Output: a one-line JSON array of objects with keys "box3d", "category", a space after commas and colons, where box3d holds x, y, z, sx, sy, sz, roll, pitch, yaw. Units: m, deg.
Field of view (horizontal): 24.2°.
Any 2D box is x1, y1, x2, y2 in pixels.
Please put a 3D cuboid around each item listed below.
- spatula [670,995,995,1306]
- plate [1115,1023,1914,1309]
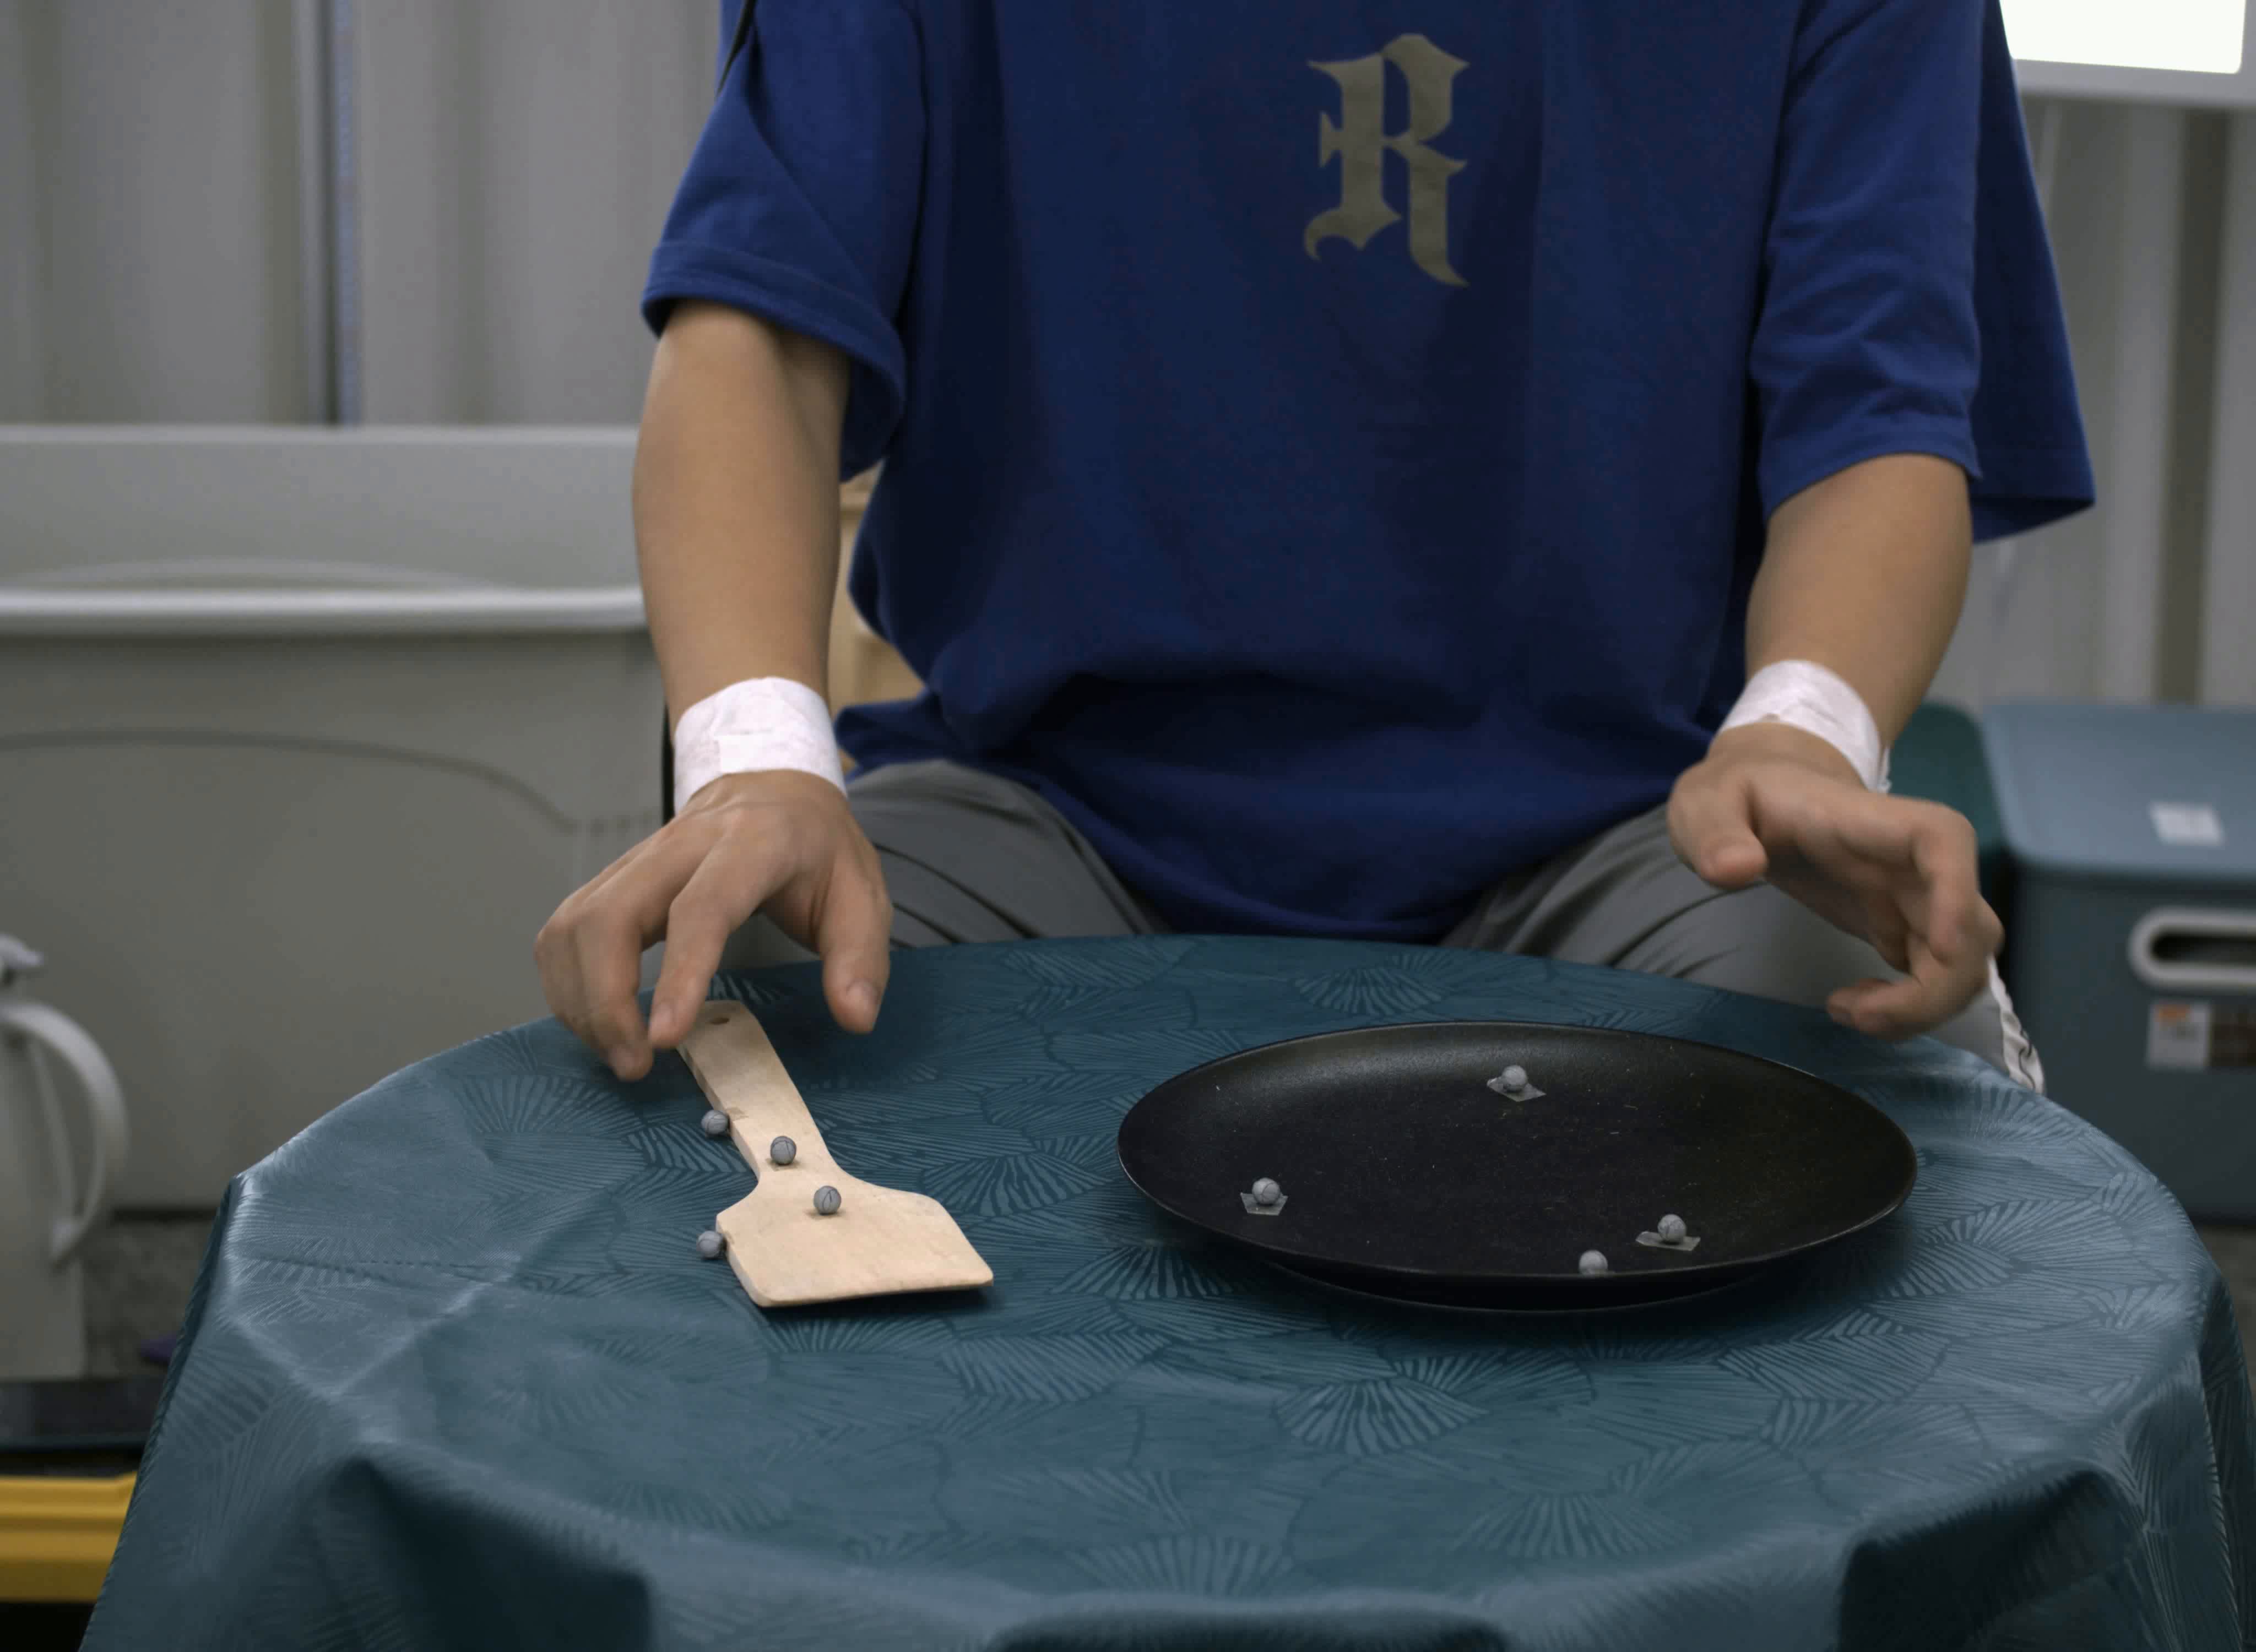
[{"box3d": [-0.108, 0.099, 1.650, 0.072, 0.011, 0.290, -5, 16, -14], "category": "spatula"}, {"box3d": [0.117, 0.106, 1.607, 0.243, 0.023, 0.243, 0, 15, 0], "category": "plate"}]
